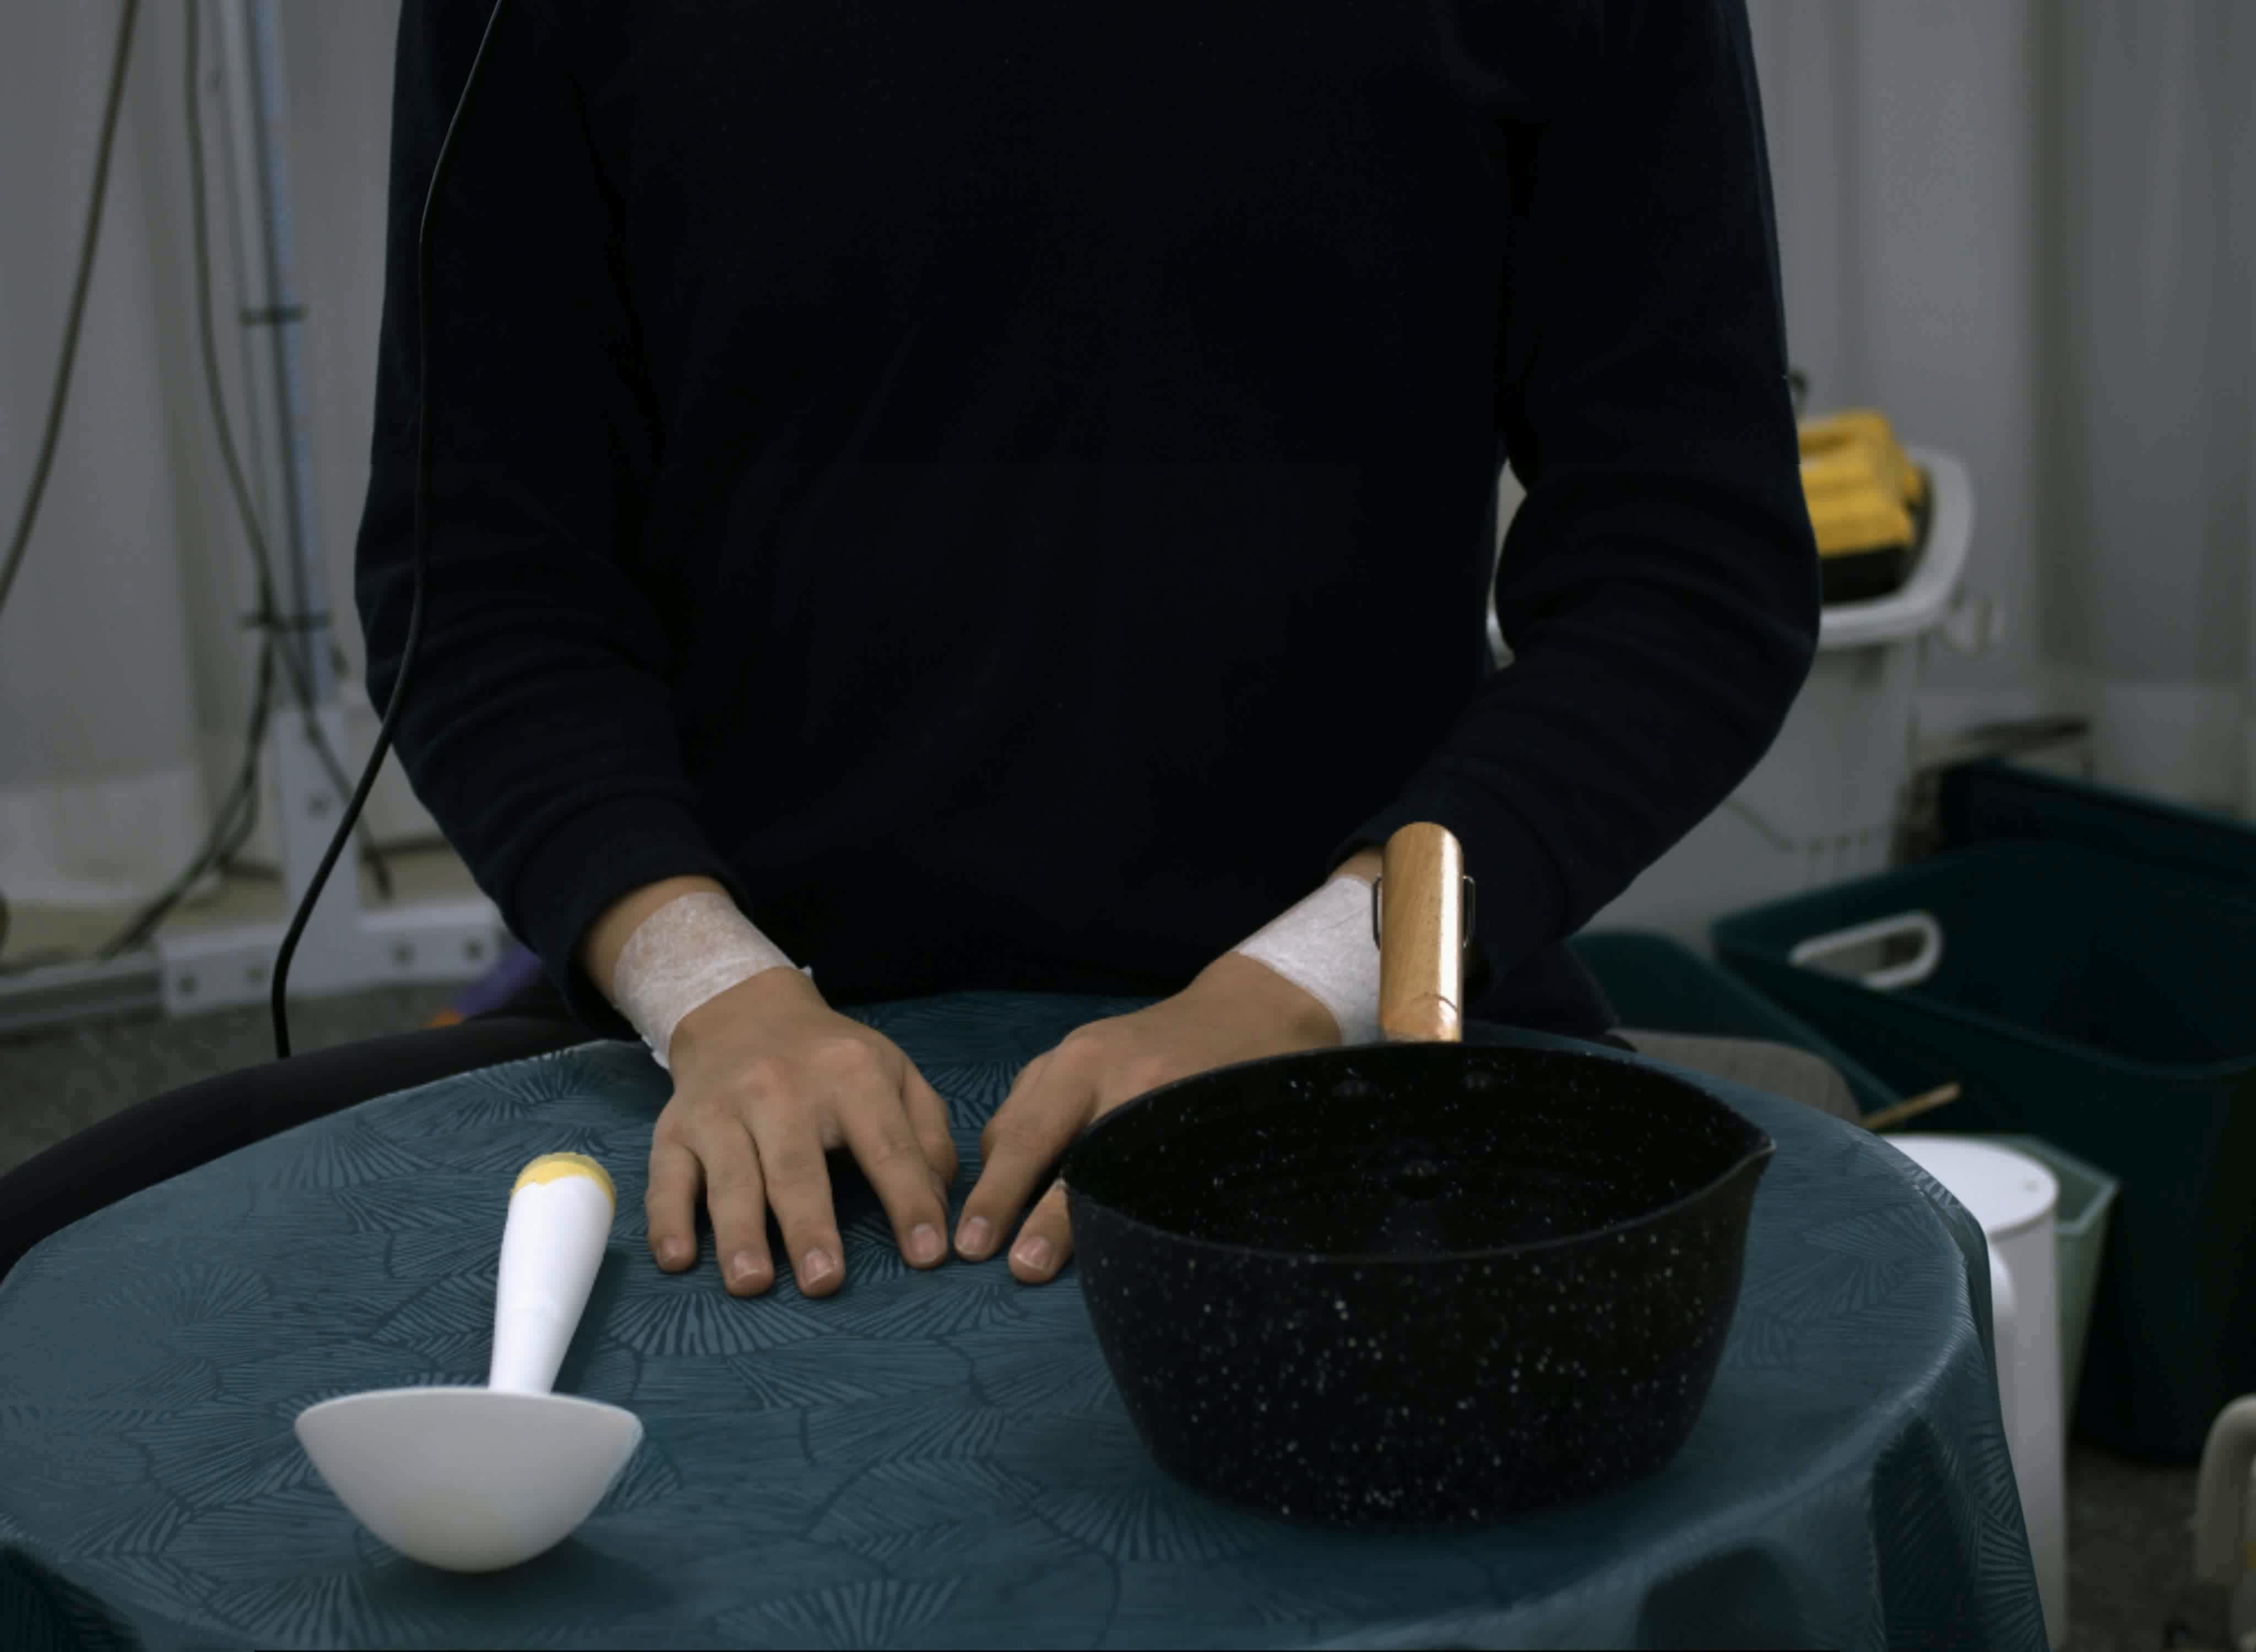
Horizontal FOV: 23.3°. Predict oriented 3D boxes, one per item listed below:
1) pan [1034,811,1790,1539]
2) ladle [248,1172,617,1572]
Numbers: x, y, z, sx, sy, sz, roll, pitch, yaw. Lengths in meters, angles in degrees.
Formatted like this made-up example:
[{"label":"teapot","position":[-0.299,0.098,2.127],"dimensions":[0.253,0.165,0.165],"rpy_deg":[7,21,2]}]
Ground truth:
[{"label":"pan","position":[0.082,0.094,1.568],"dimensions":[0.207,0.108,0.345],"rpy_deg":[-3,16,4]},{"label":"ladle","position":[-0.180,0.138,1.539],"dimensions":[0.090,0.070,0.295],"rpy_deg":[-8,14,4]}]
